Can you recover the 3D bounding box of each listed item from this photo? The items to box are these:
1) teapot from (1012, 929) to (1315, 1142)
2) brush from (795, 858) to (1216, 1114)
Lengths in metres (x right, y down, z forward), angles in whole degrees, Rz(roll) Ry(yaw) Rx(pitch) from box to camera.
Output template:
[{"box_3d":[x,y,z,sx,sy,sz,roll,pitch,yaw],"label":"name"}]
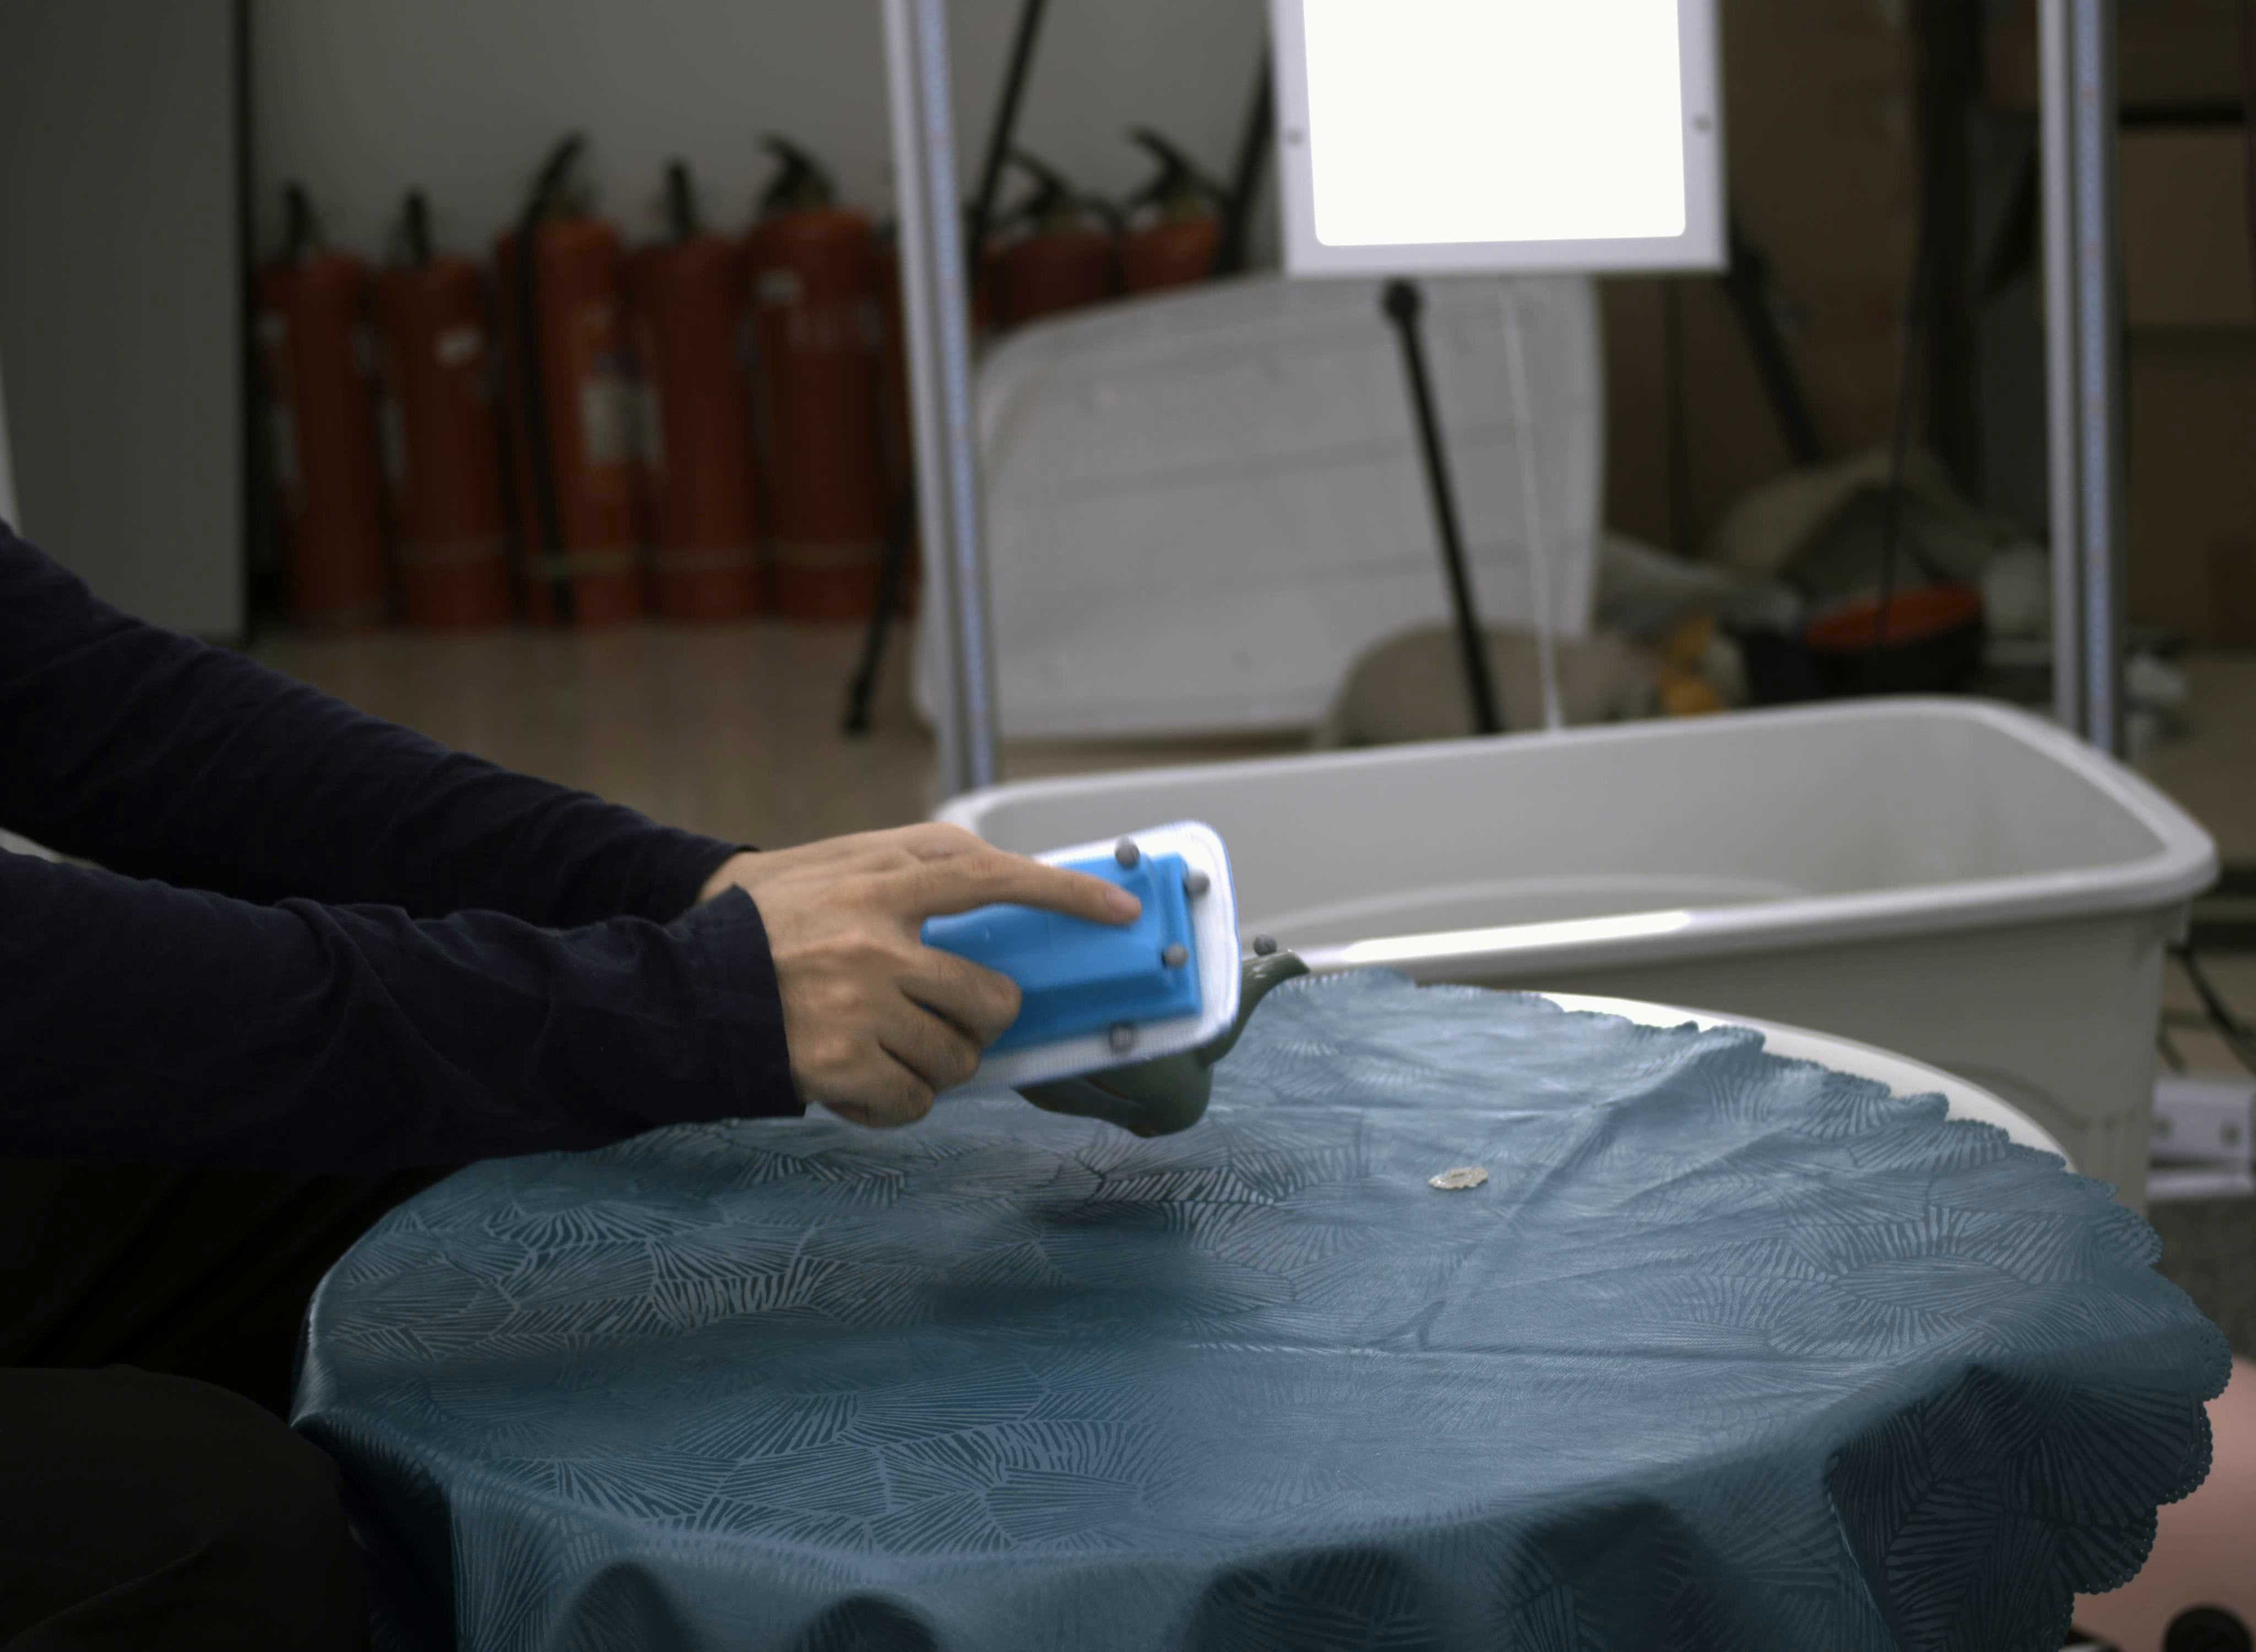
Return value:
[{"box_3d":[-0.005,0.063,1.907,0.134,0.075,0.079,12,-18,24],"label":"teapot"},{"box_3d":[-0.044,0.045,1.806,0.145,0.084,0.055,-7,-29,14],"label":"brush"}]
